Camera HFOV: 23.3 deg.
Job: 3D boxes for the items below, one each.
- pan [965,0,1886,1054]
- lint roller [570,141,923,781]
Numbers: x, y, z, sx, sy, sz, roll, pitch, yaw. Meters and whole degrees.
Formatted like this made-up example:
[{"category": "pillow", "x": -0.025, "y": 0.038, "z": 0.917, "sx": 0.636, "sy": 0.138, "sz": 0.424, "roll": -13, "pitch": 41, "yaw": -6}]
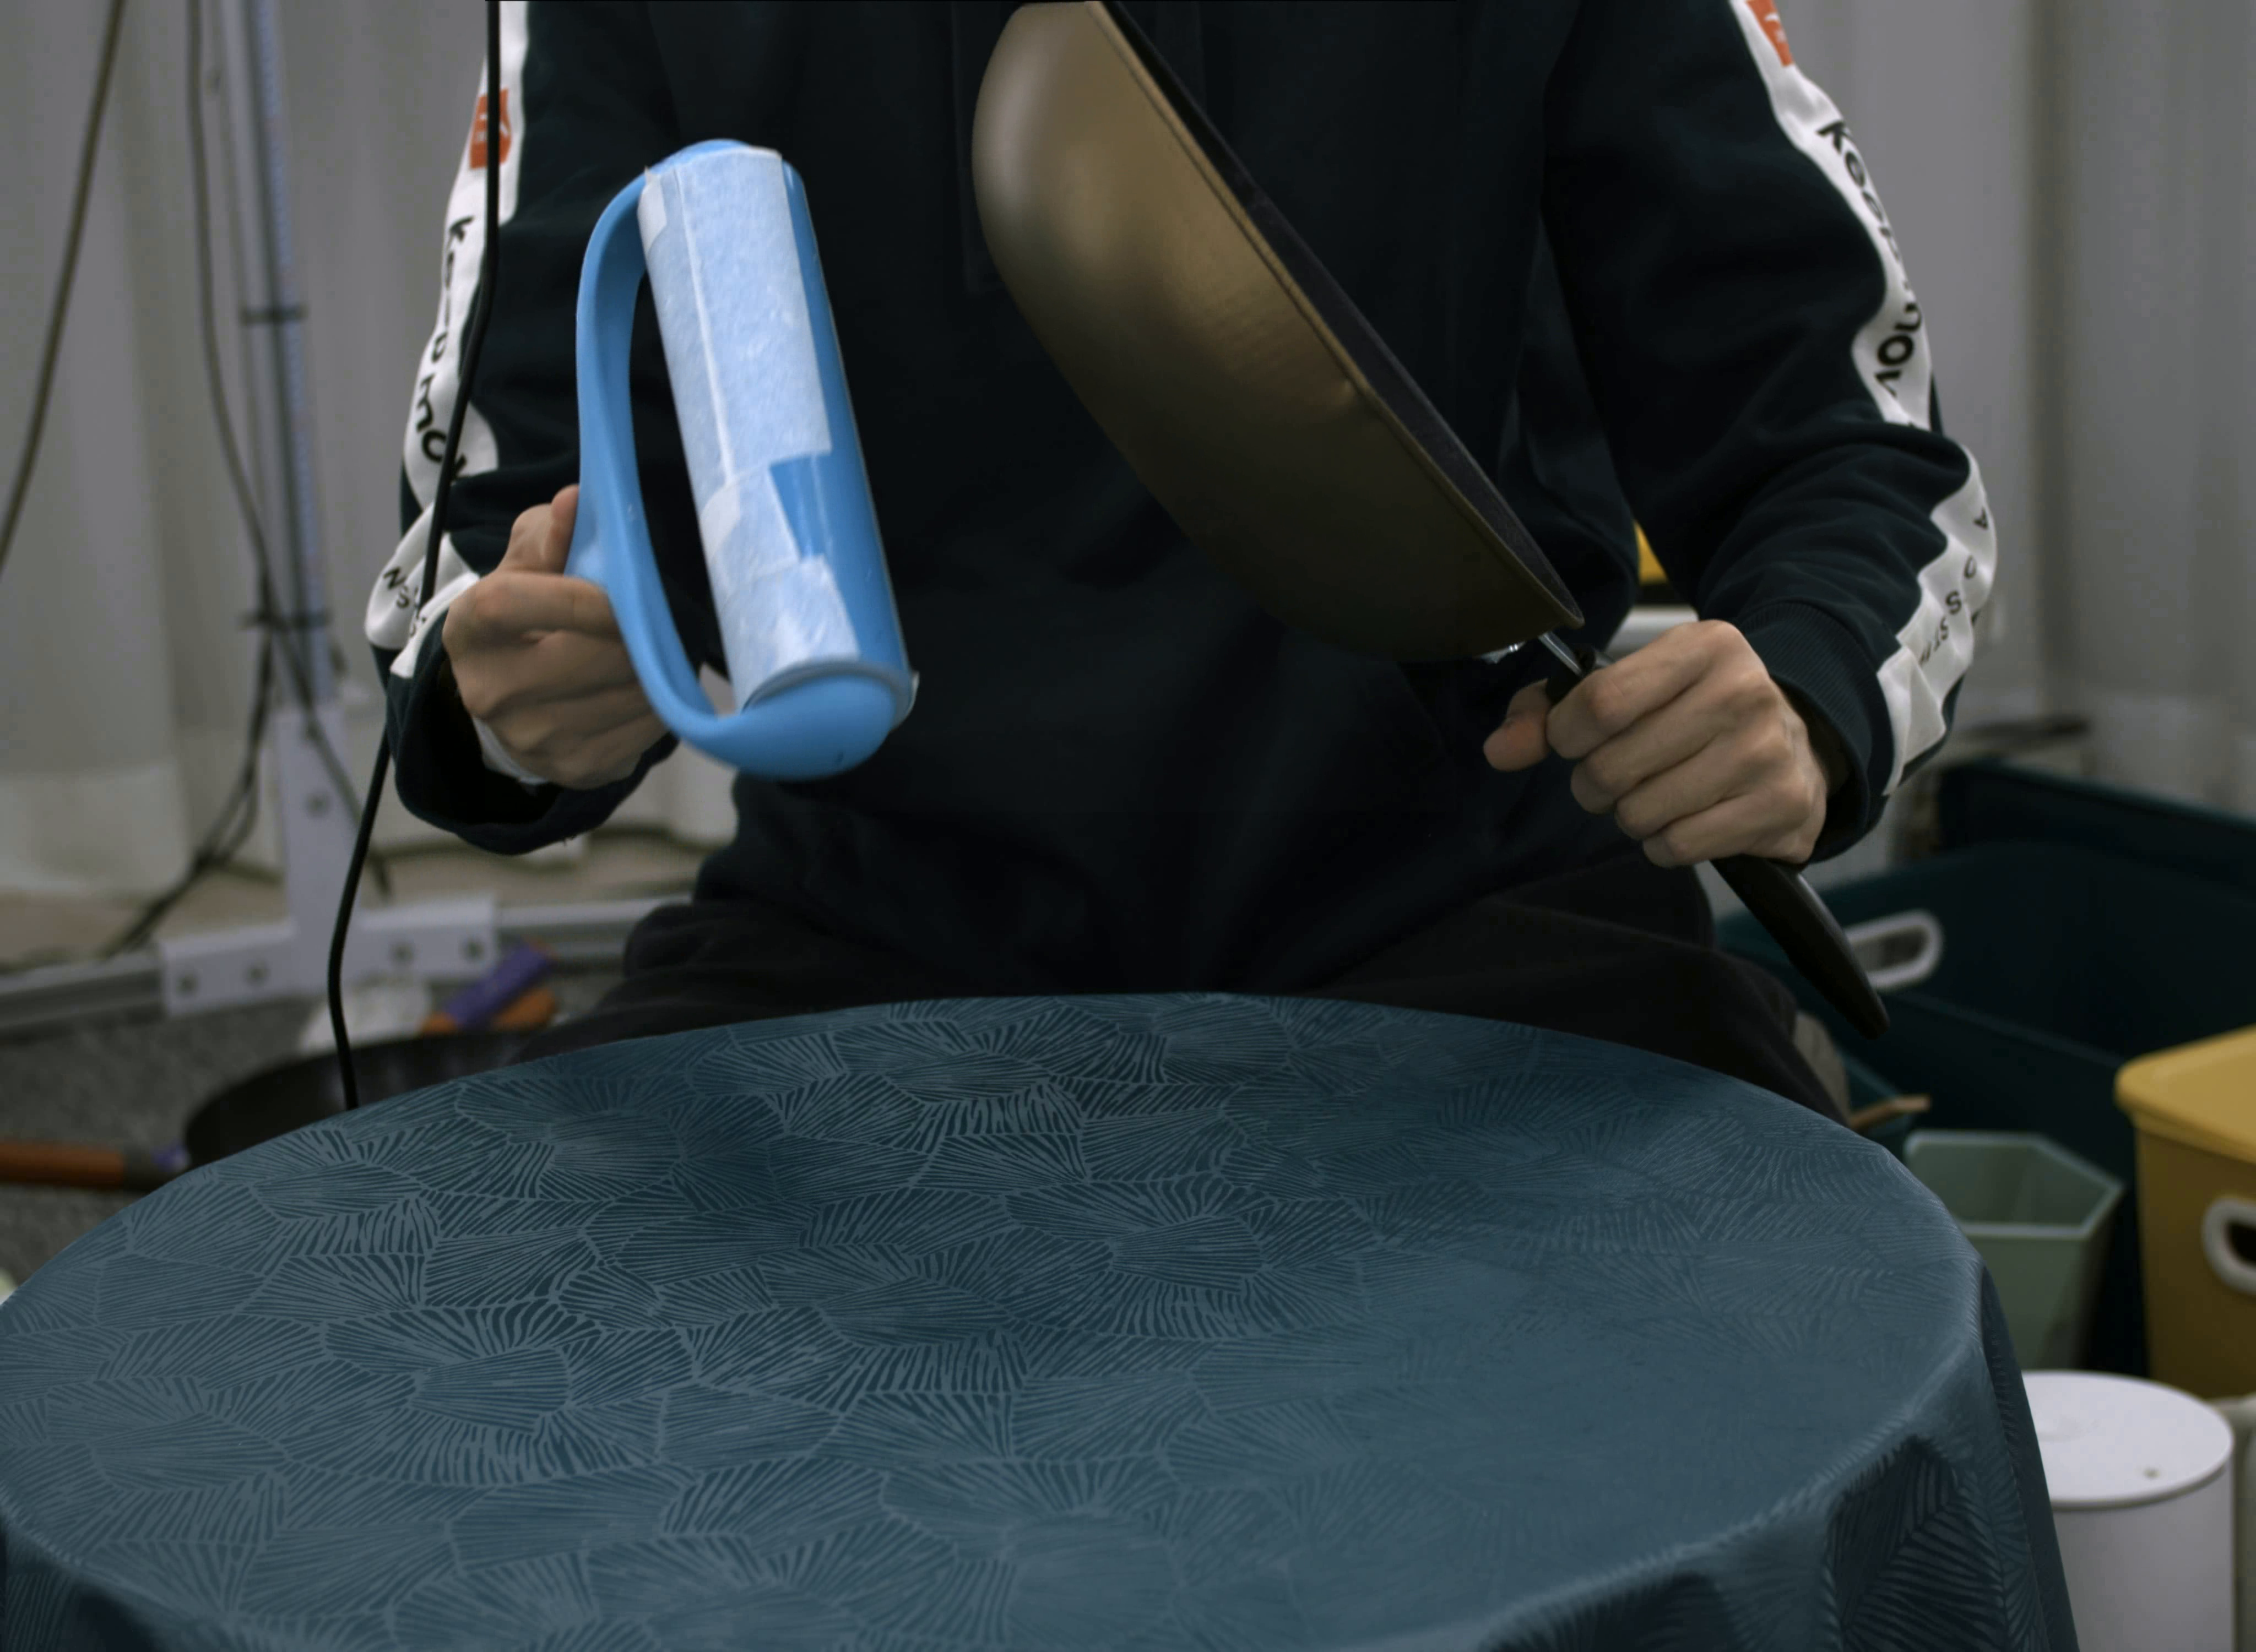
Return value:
[{"category": "pan", "x": 0.086, "y": -0.084, "z": 1.794, "sx": 0.086, "sy": 0.460, "sz": 0.290, "roll": -37, "pitch": 15, "yaw": 7}, {"category": "lint roller", "x": -0.141, "y": -0.084, "z": 1.729, "sx": 0.067, "sy": 0.232, "sz": 0.179, "roll": 8, "pitch": -39, "yaw": -36}]
